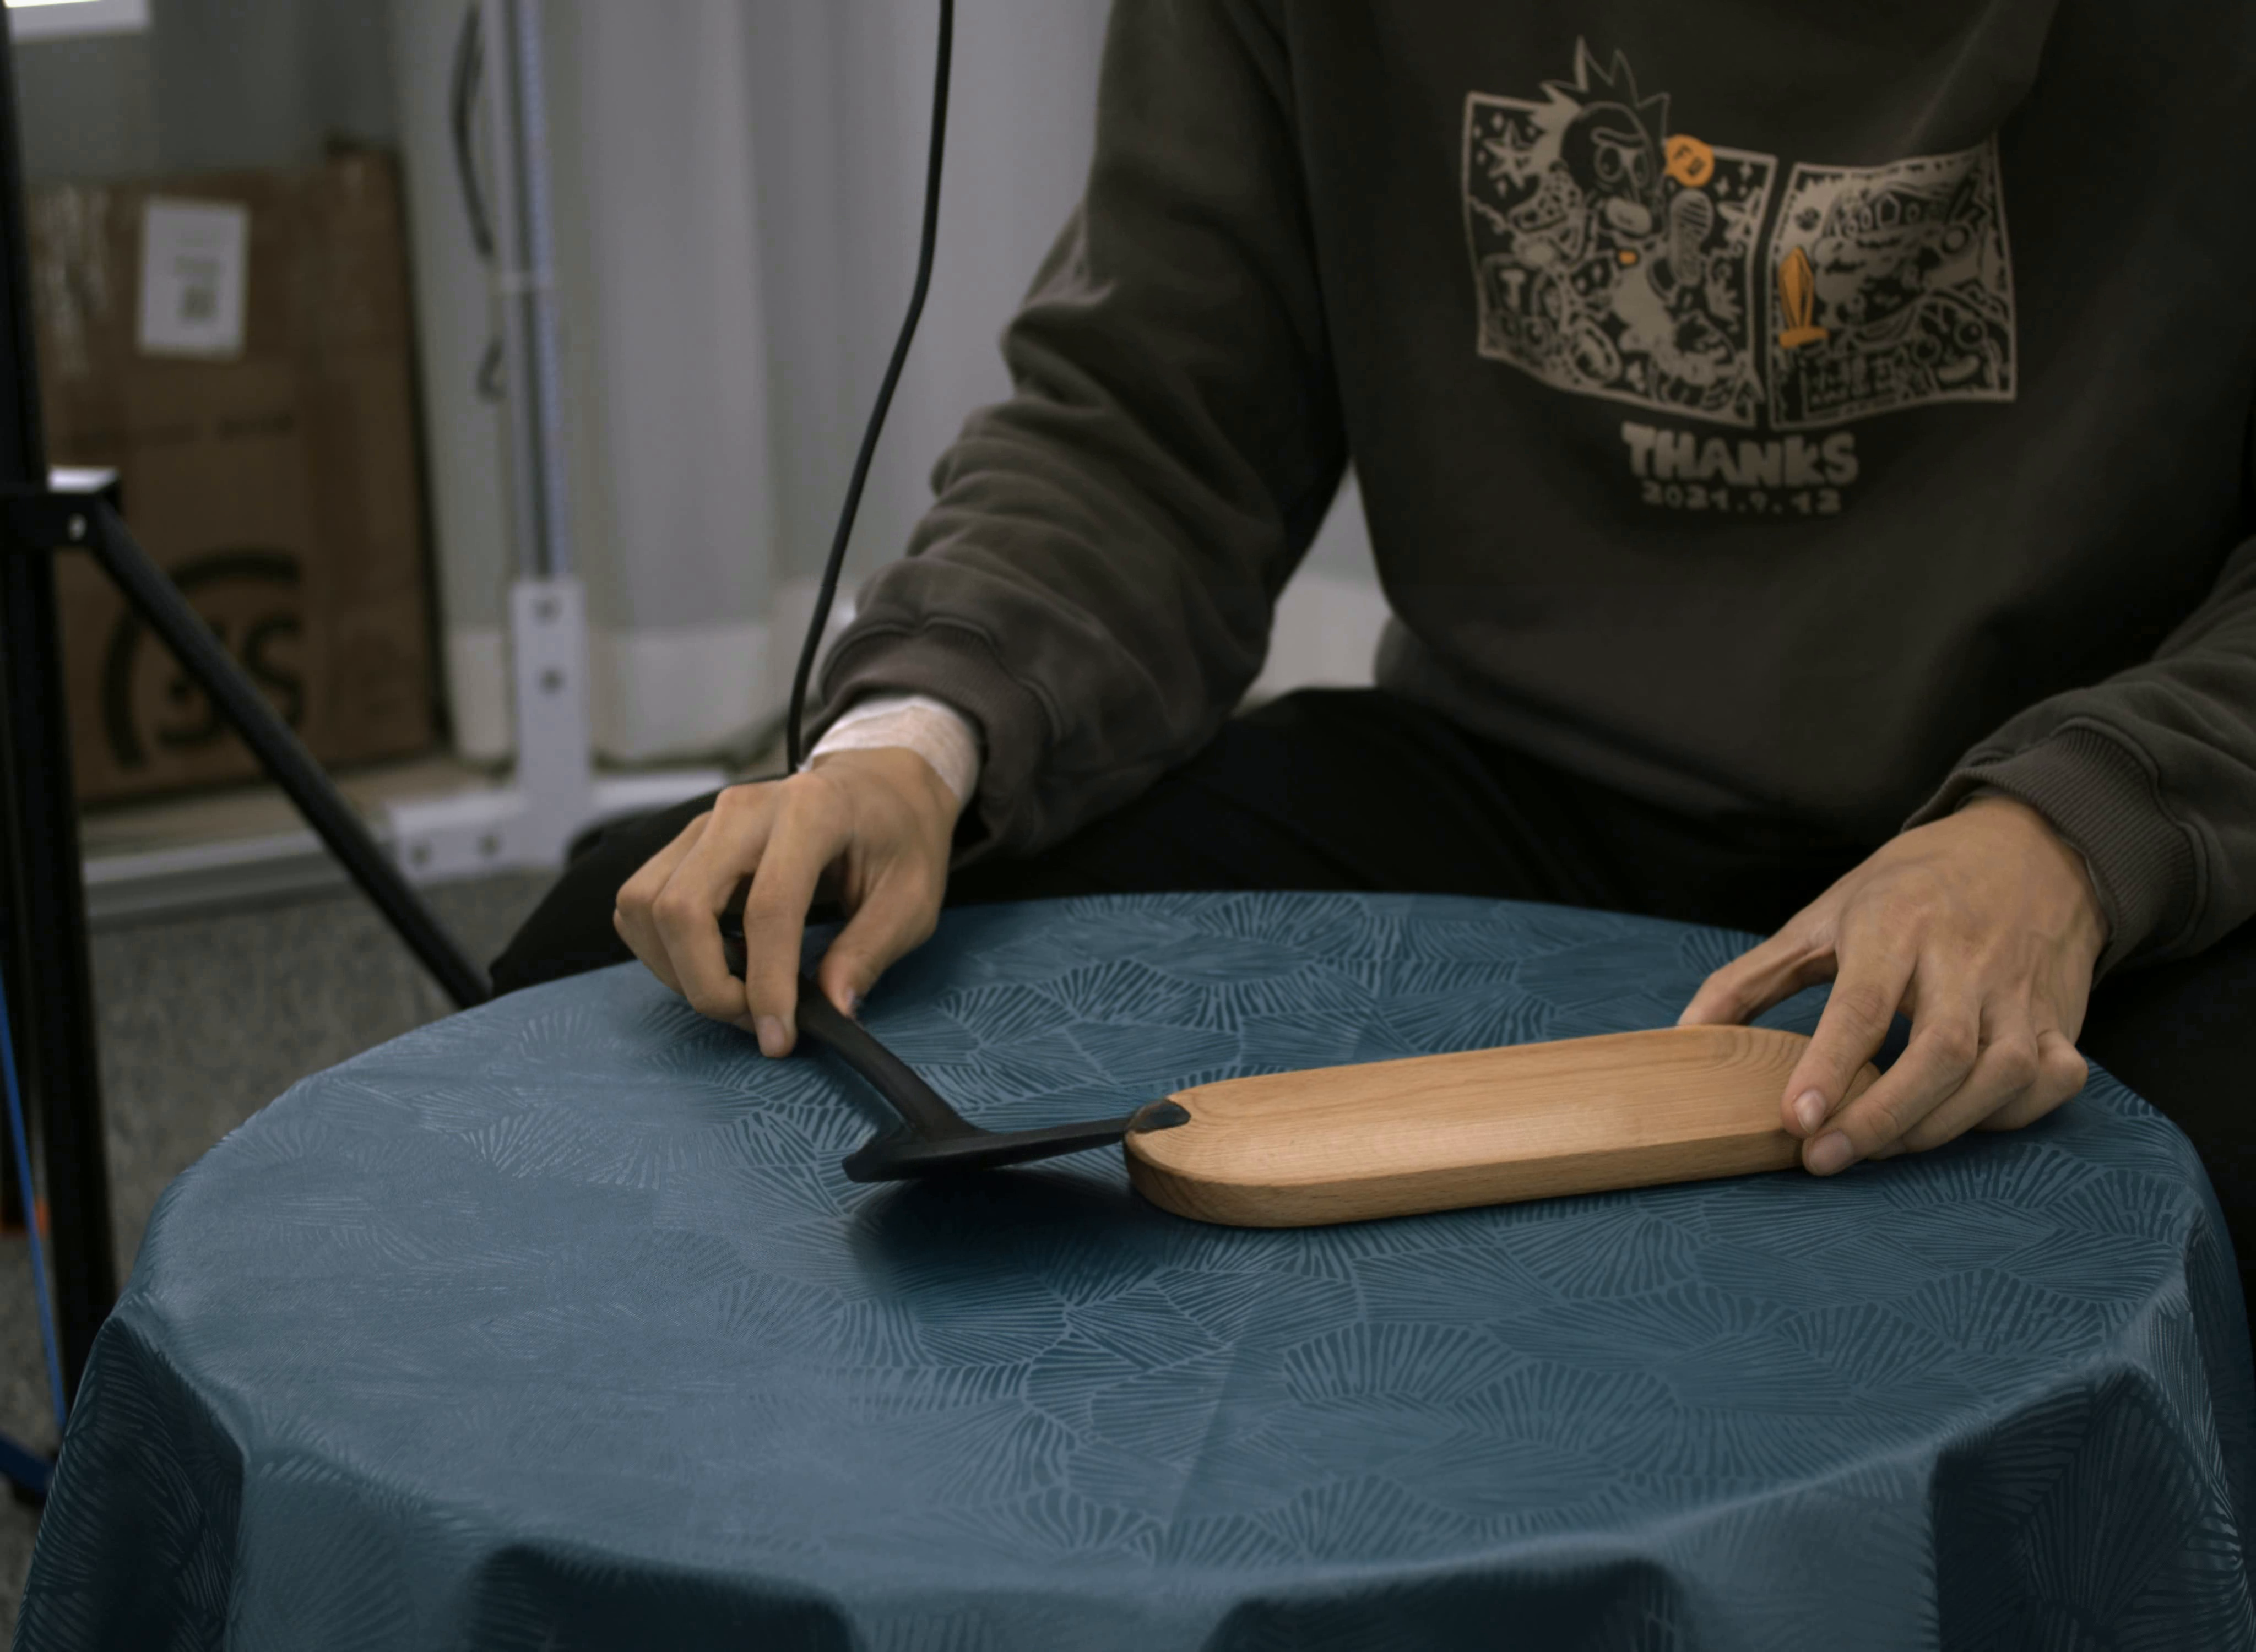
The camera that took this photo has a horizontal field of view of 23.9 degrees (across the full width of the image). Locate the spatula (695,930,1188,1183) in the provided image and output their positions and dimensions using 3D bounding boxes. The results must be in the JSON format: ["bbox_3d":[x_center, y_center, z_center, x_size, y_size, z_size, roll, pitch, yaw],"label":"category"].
[{"bbox_3d":[-0.082,0.066,1.654,0.098,0.040,0.332,-5,17,-20],"label":"spatula"}]

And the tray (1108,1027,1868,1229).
[{"bbox_3d":[0.108,0.090,1.577,0.228,0.020,0.103,-7,16,-10],"label":"tray"}]
